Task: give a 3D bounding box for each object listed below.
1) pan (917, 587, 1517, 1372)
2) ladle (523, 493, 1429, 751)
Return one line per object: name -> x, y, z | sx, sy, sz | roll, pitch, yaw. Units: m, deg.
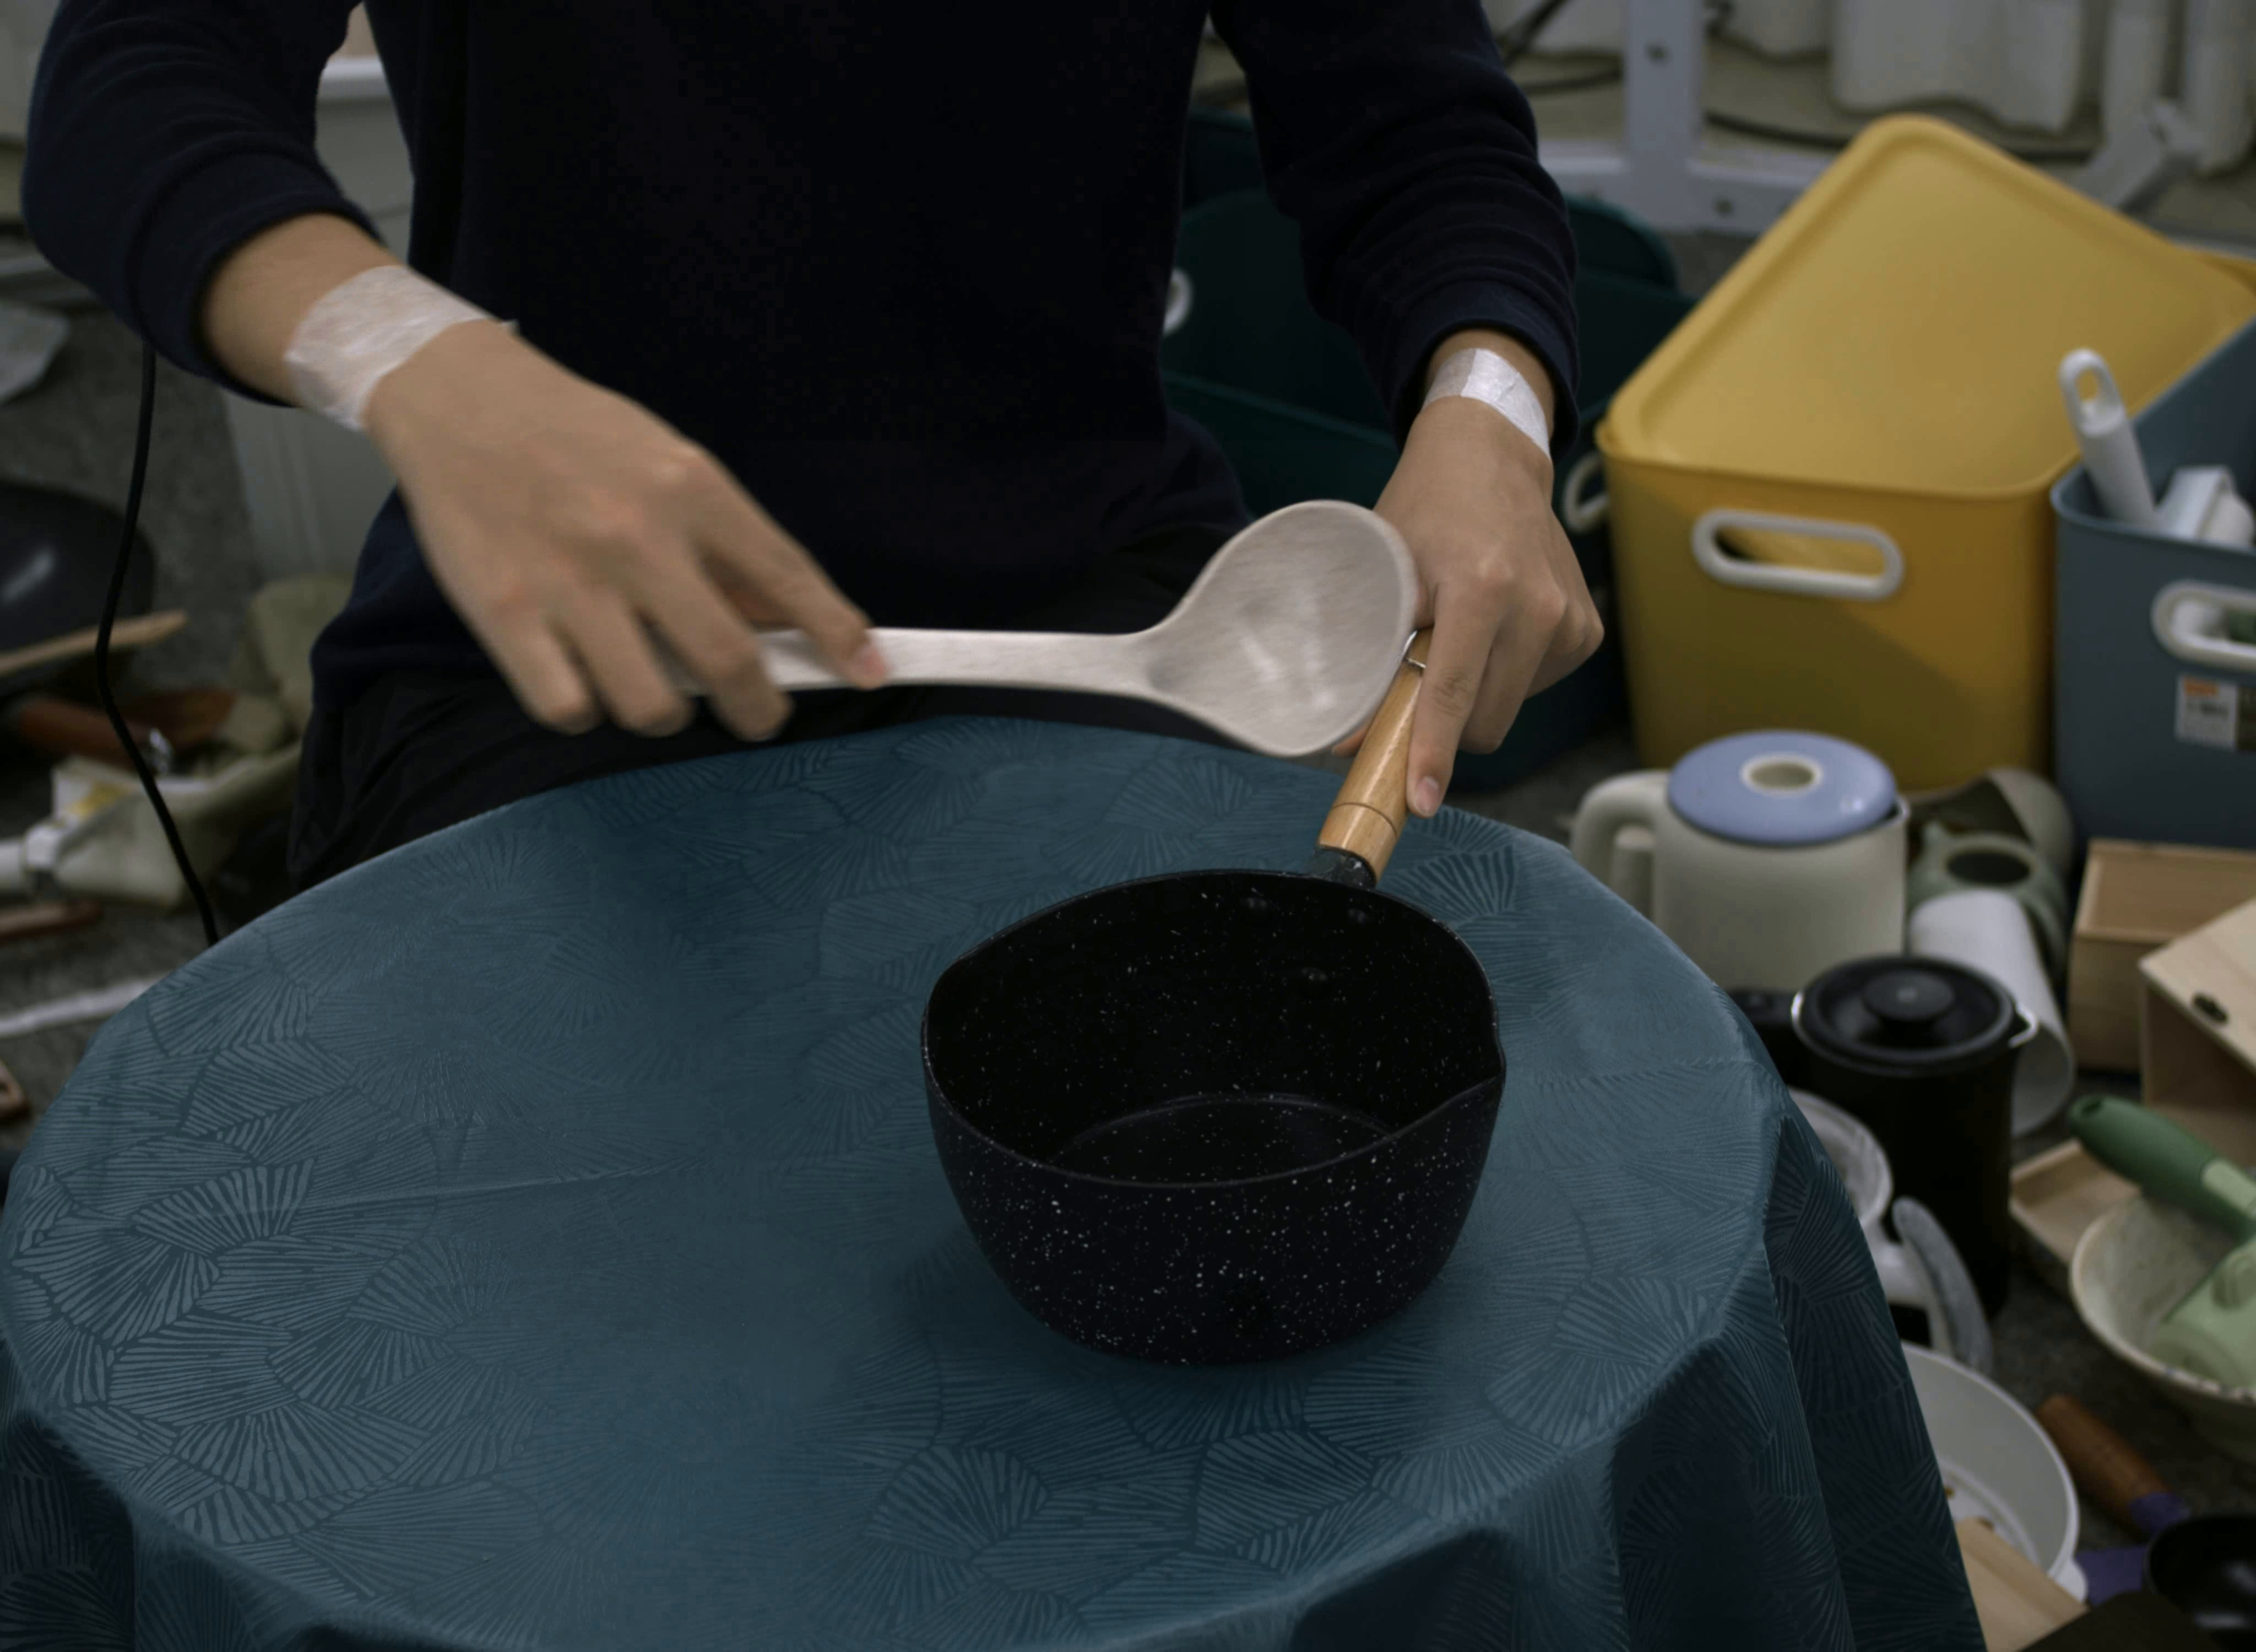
pan -> 0.056, 0.047, 1.867 | 0.206, 0.107, 0.349 | 6, 33, 21
ladle -> -0.043, -0.066, 1.704 | 0.275, 0.068, 0.091 | 2, 56, -22
